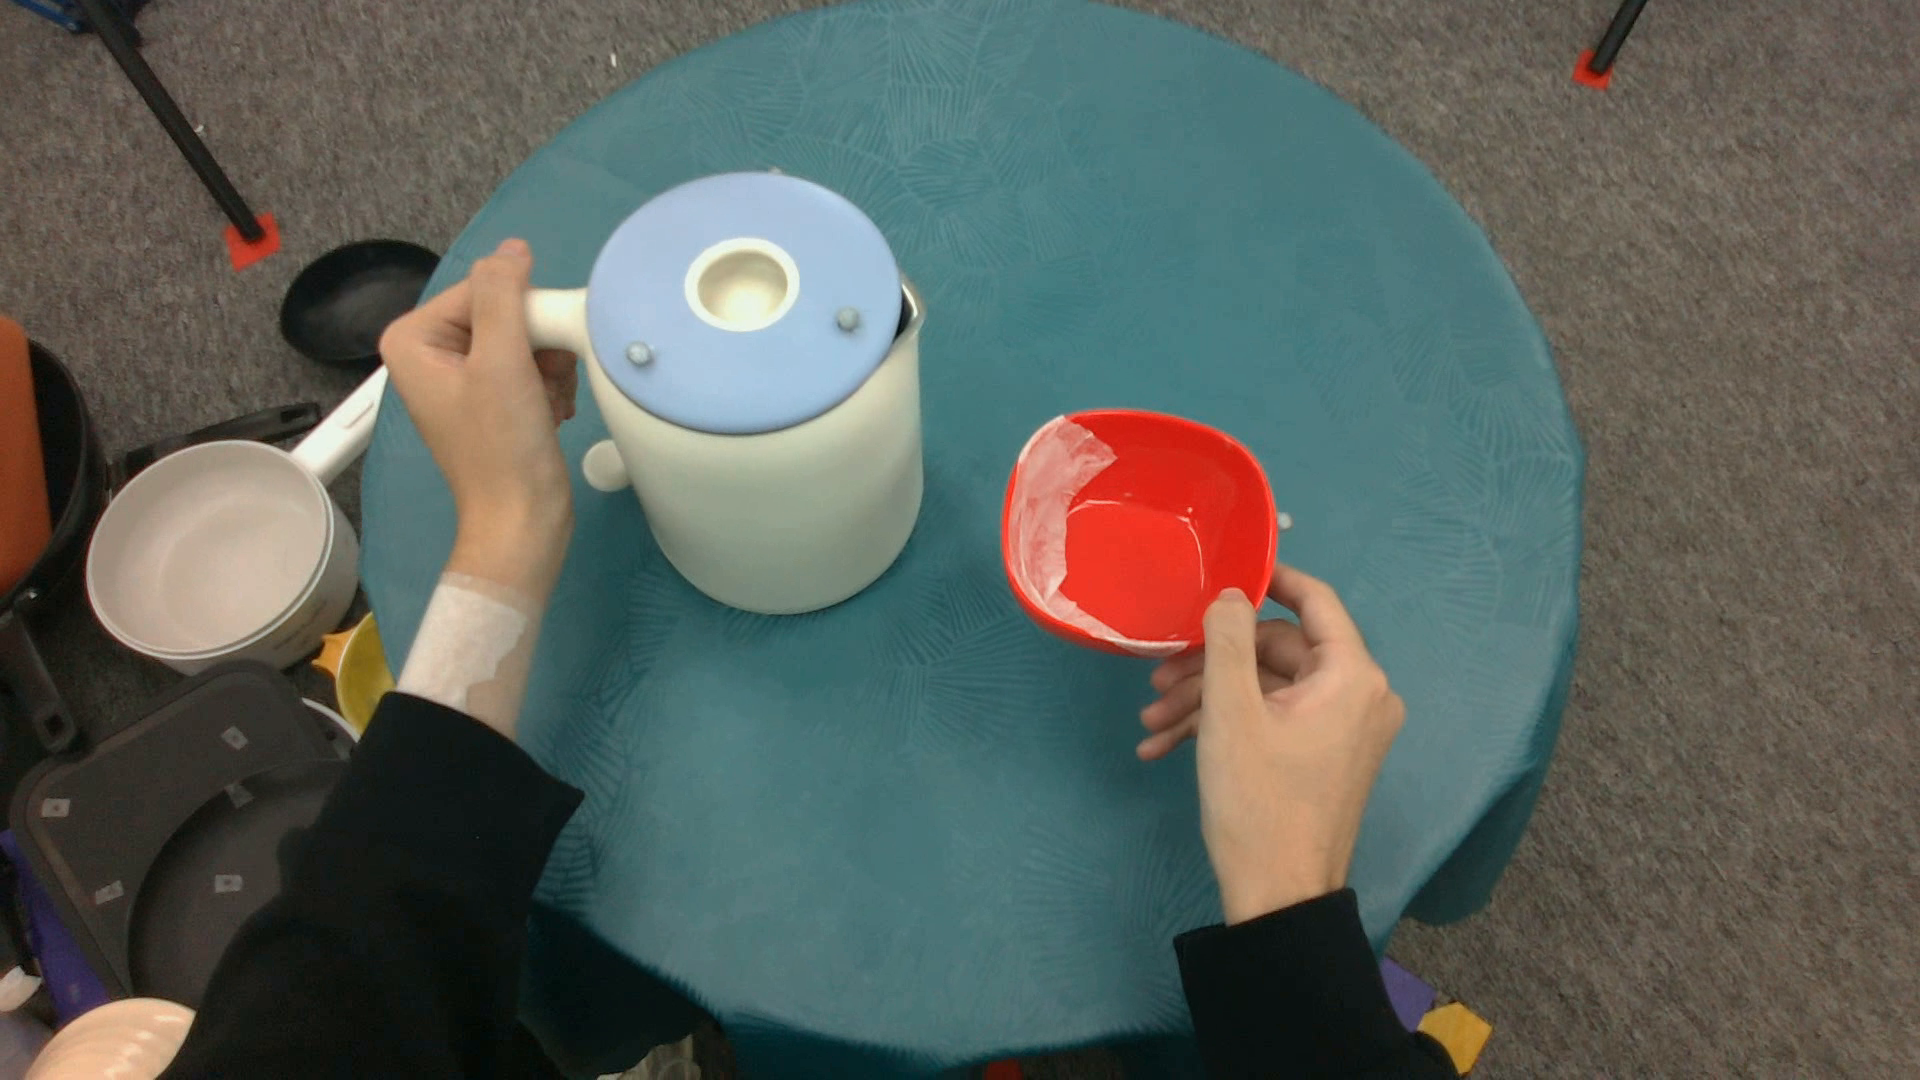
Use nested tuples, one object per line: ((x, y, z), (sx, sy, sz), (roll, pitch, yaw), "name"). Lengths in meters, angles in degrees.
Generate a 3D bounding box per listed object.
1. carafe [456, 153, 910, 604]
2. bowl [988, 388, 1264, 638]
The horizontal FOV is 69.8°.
((-0.113, -0.063, 0.591), (0.191, 0.182, 0.133), (1, 63, 2), "carafe")
((0.065, -0.003, 0.568), (0.119, 0.051, 0.119), (2, 58, -4), "bowl")
